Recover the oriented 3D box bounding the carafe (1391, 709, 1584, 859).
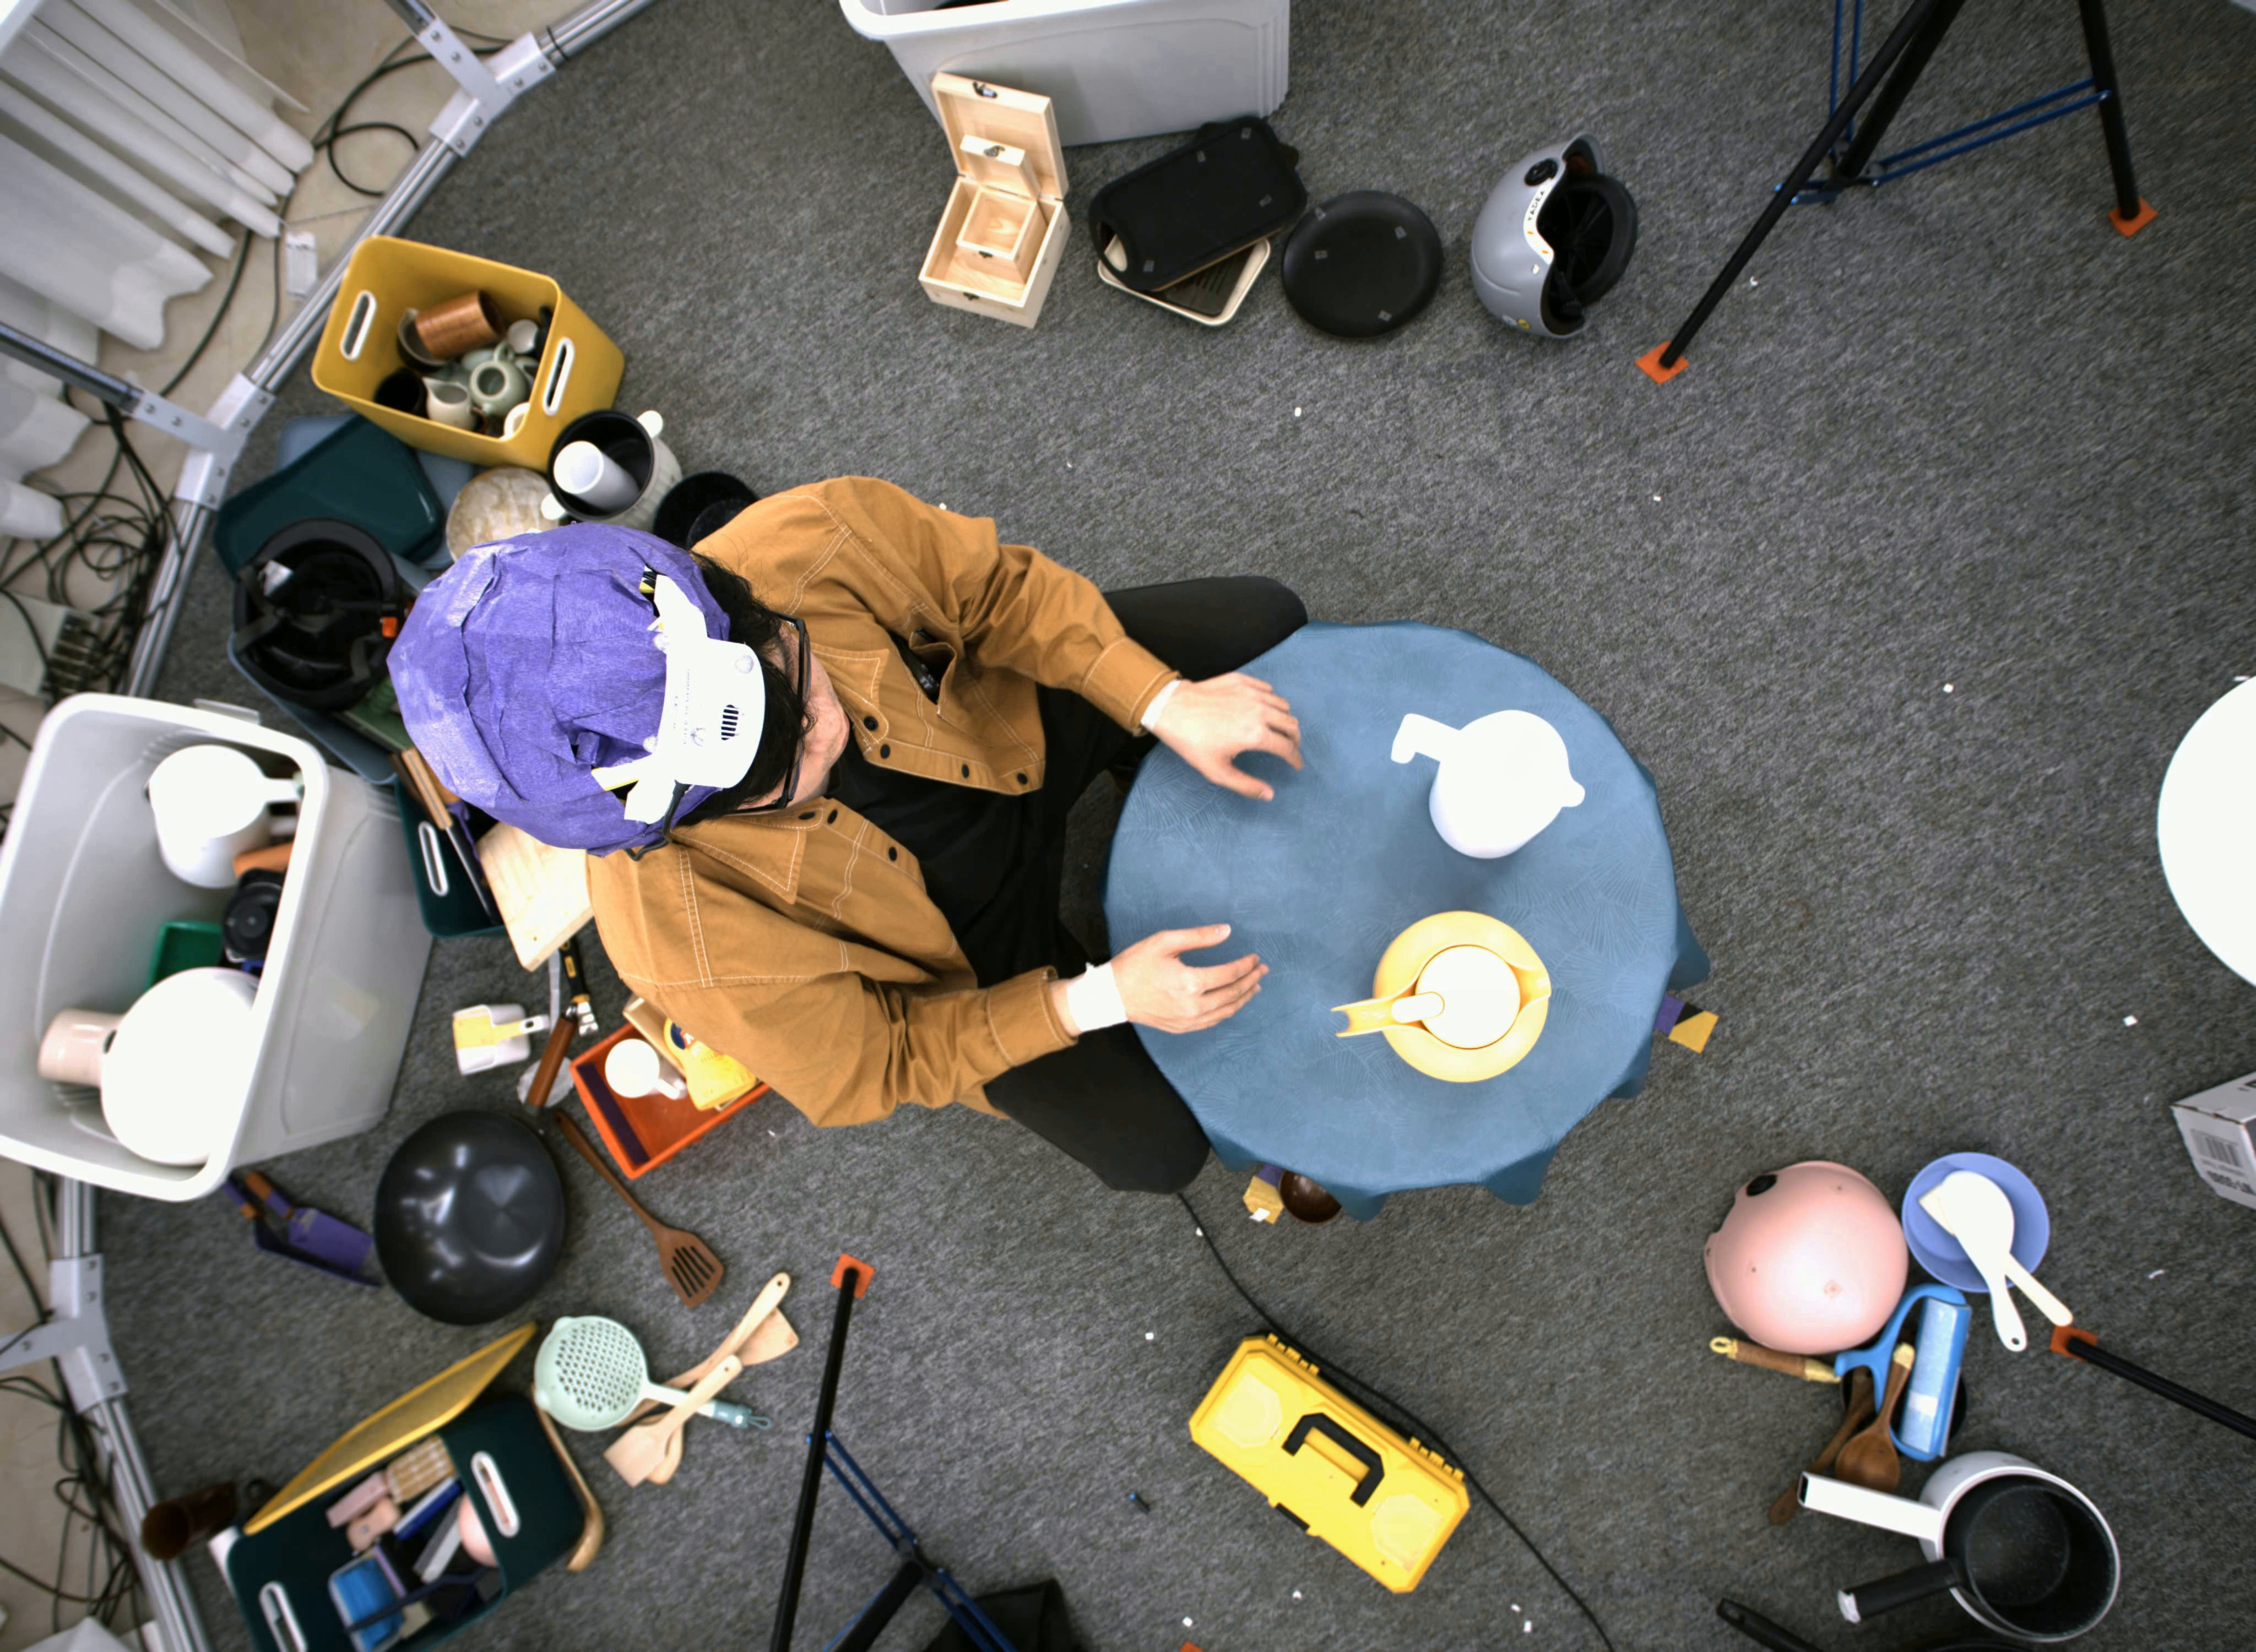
[{"bbox_3d":[0.337,-0.044,1.318,0.173,0.268,0.124,23,91,12],"label":"carafe"}]

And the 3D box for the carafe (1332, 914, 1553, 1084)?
[{"bbox_3d":[0.297,0.165,1.318,0.203,0.261,0.162,-10,80,8],"label":"carafe"}]
